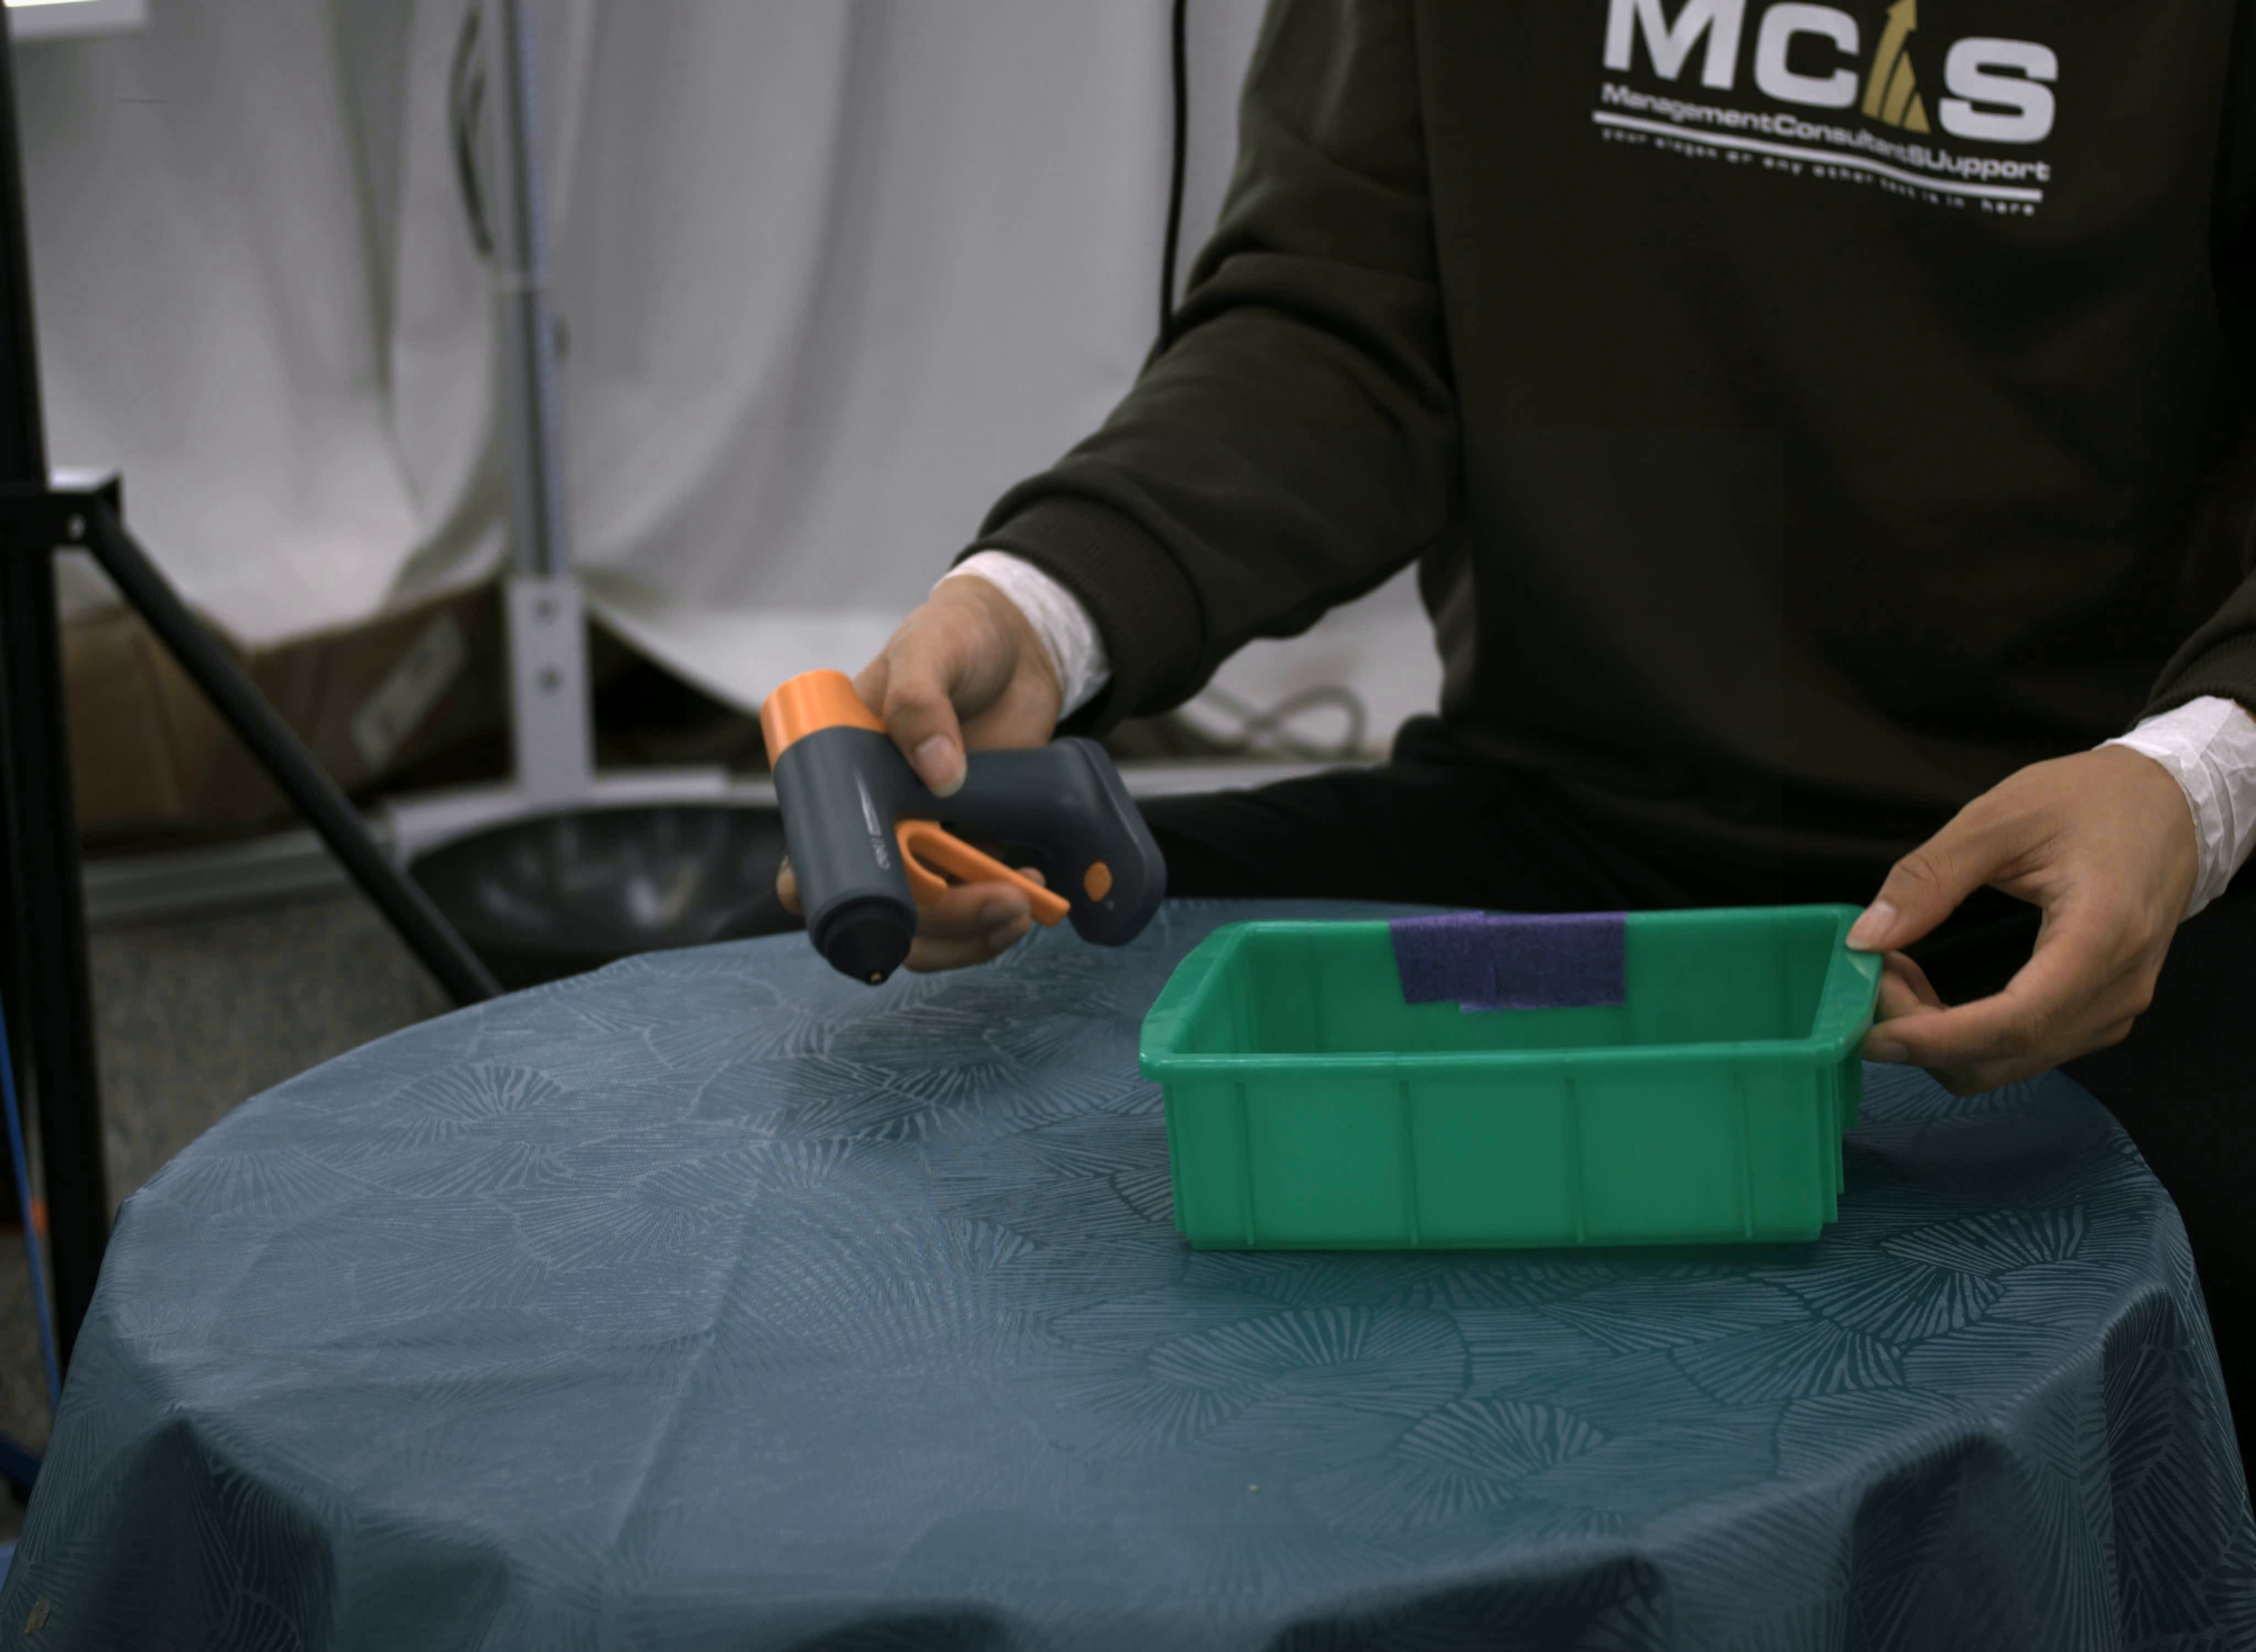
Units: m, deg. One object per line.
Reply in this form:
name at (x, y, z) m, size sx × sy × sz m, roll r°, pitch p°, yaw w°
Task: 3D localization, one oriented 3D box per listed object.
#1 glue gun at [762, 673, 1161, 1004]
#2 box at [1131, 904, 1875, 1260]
glue gun at (-0.058, 0.008, 1.693) m, size 0.136 × 0.041 × 0.120 m, roll 3°, pitch 50°, yaw -41°
box at (0.111, 0.075, 1.531) m, size 0.212 × 0.065 × 0.138 m, roll -3°, pitch 14°, yaw 13°
